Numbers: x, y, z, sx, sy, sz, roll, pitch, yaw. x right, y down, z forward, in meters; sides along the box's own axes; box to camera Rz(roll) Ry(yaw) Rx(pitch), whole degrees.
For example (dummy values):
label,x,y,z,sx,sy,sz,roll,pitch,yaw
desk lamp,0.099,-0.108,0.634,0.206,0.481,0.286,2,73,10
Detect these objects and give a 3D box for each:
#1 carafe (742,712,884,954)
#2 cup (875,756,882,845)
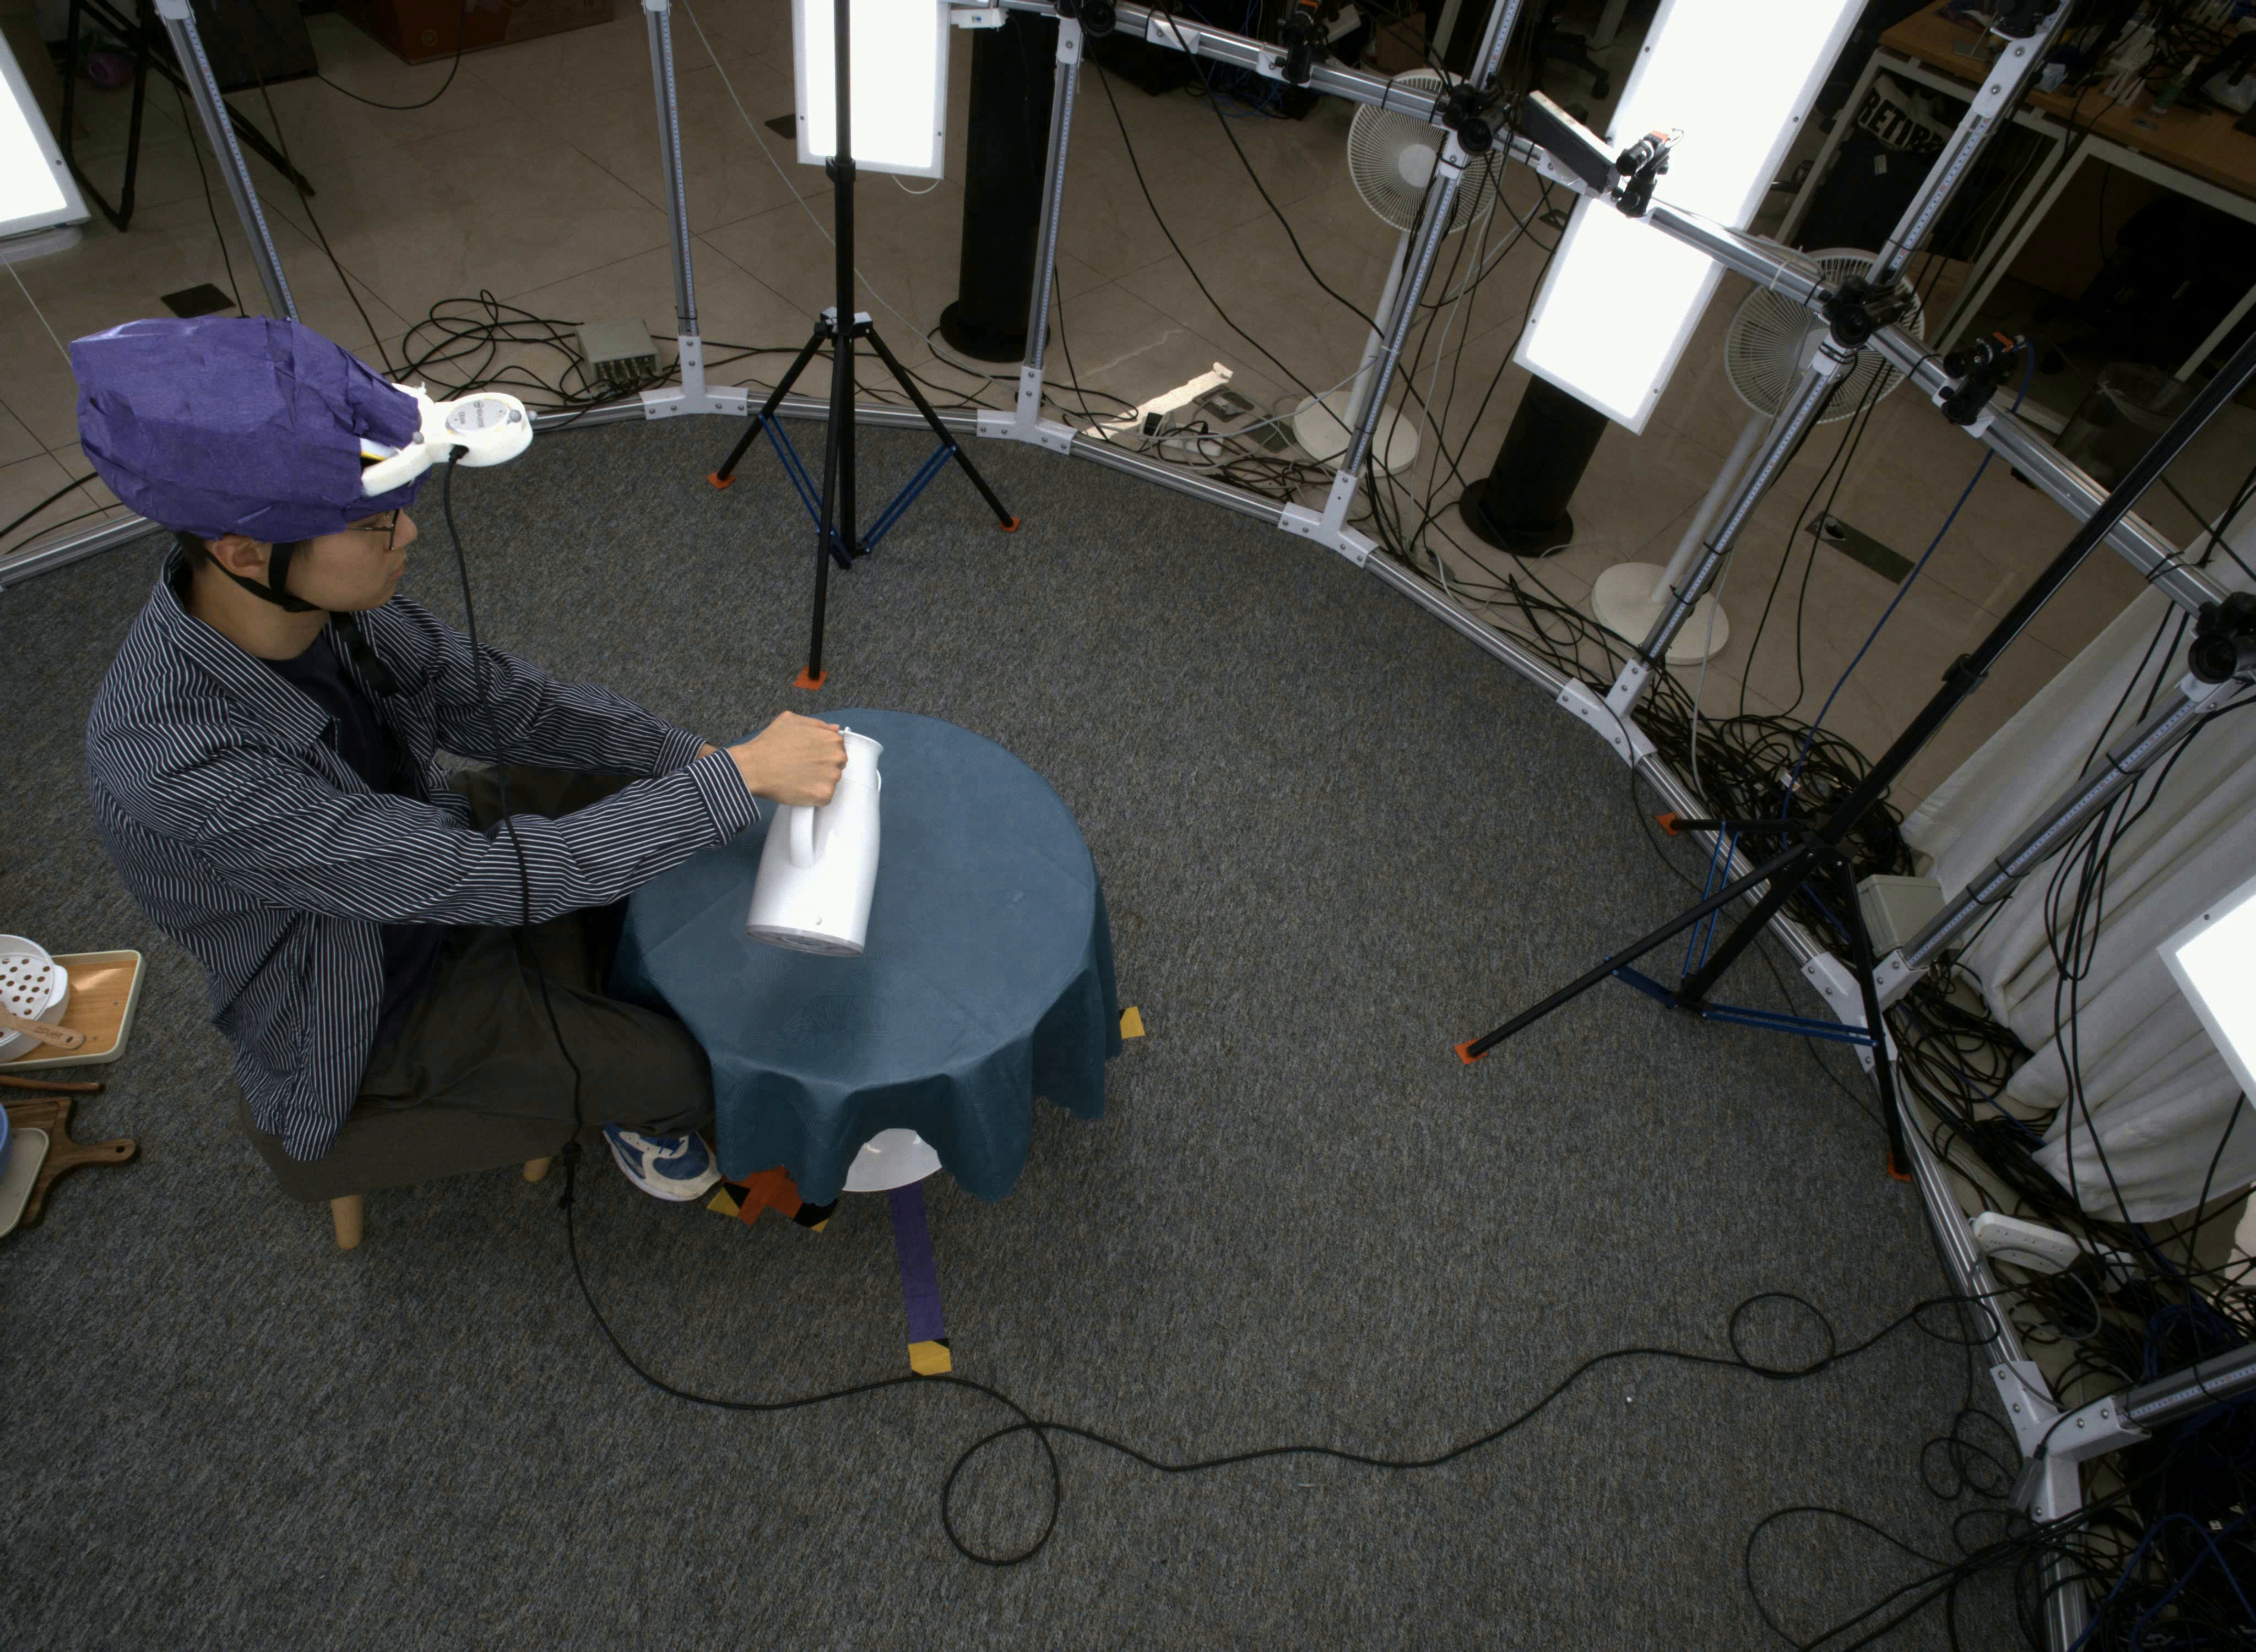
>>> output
label,x,y,z,sx,sy,sz,roll,pitch,yaw
carafe,-0.344,0.001,1.457,0.131,0.169,0.248,10,75,-1
cup,-0.352,-0.033,1.659,0.081,0.128,0.080,4,56,-5
